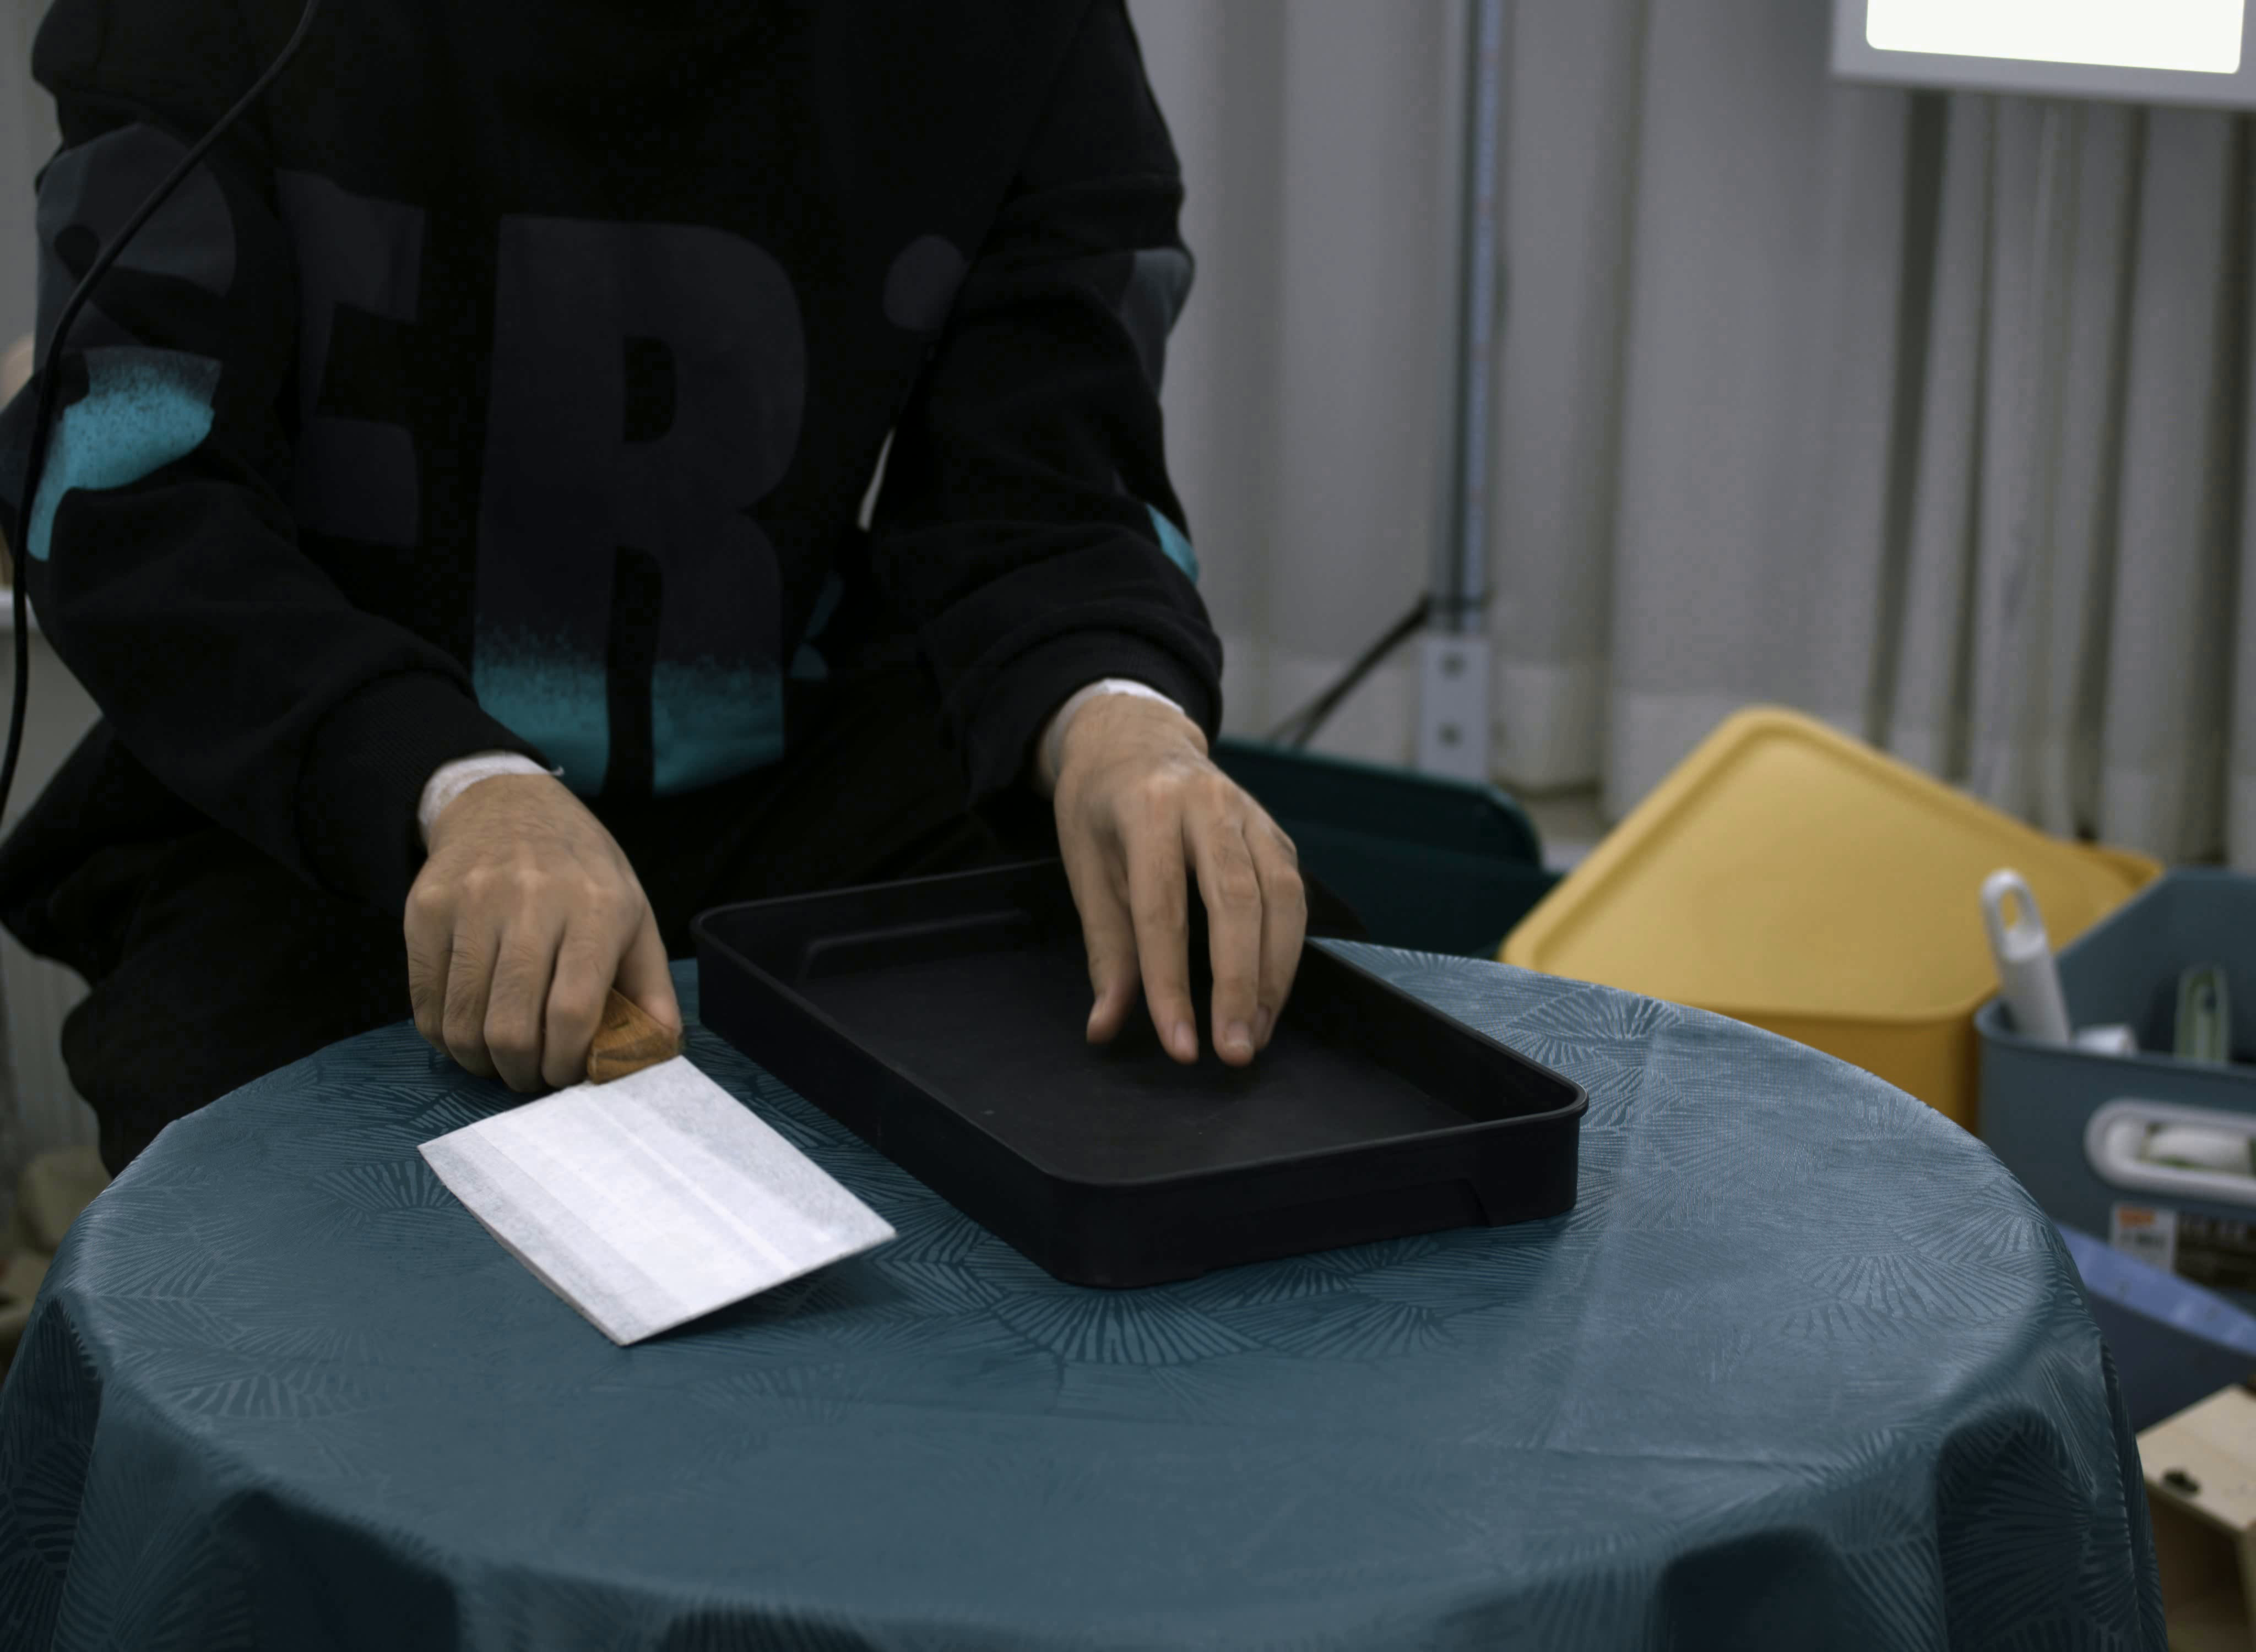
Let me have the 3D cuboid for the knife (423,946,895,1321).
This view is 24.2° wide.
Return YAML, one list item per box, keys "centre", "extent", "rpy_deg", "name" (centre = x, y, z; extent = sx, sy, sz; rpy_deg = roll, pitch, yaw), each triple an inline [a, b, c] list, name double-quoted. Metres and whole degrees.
- centre: [-0.167, 0.095, 1.636]
  extent: [0.093, 0.021, 0.302]
  rpy_deg: [-20, 22, -19]
  name: "knife"

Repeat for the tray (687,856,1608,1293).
- centre: [-0.001, 0.074, 1.692]
  extent: [0.185, 0.037, 0.314]
  rpy_deg: [-8, 18, -28]
  name: "tray"
